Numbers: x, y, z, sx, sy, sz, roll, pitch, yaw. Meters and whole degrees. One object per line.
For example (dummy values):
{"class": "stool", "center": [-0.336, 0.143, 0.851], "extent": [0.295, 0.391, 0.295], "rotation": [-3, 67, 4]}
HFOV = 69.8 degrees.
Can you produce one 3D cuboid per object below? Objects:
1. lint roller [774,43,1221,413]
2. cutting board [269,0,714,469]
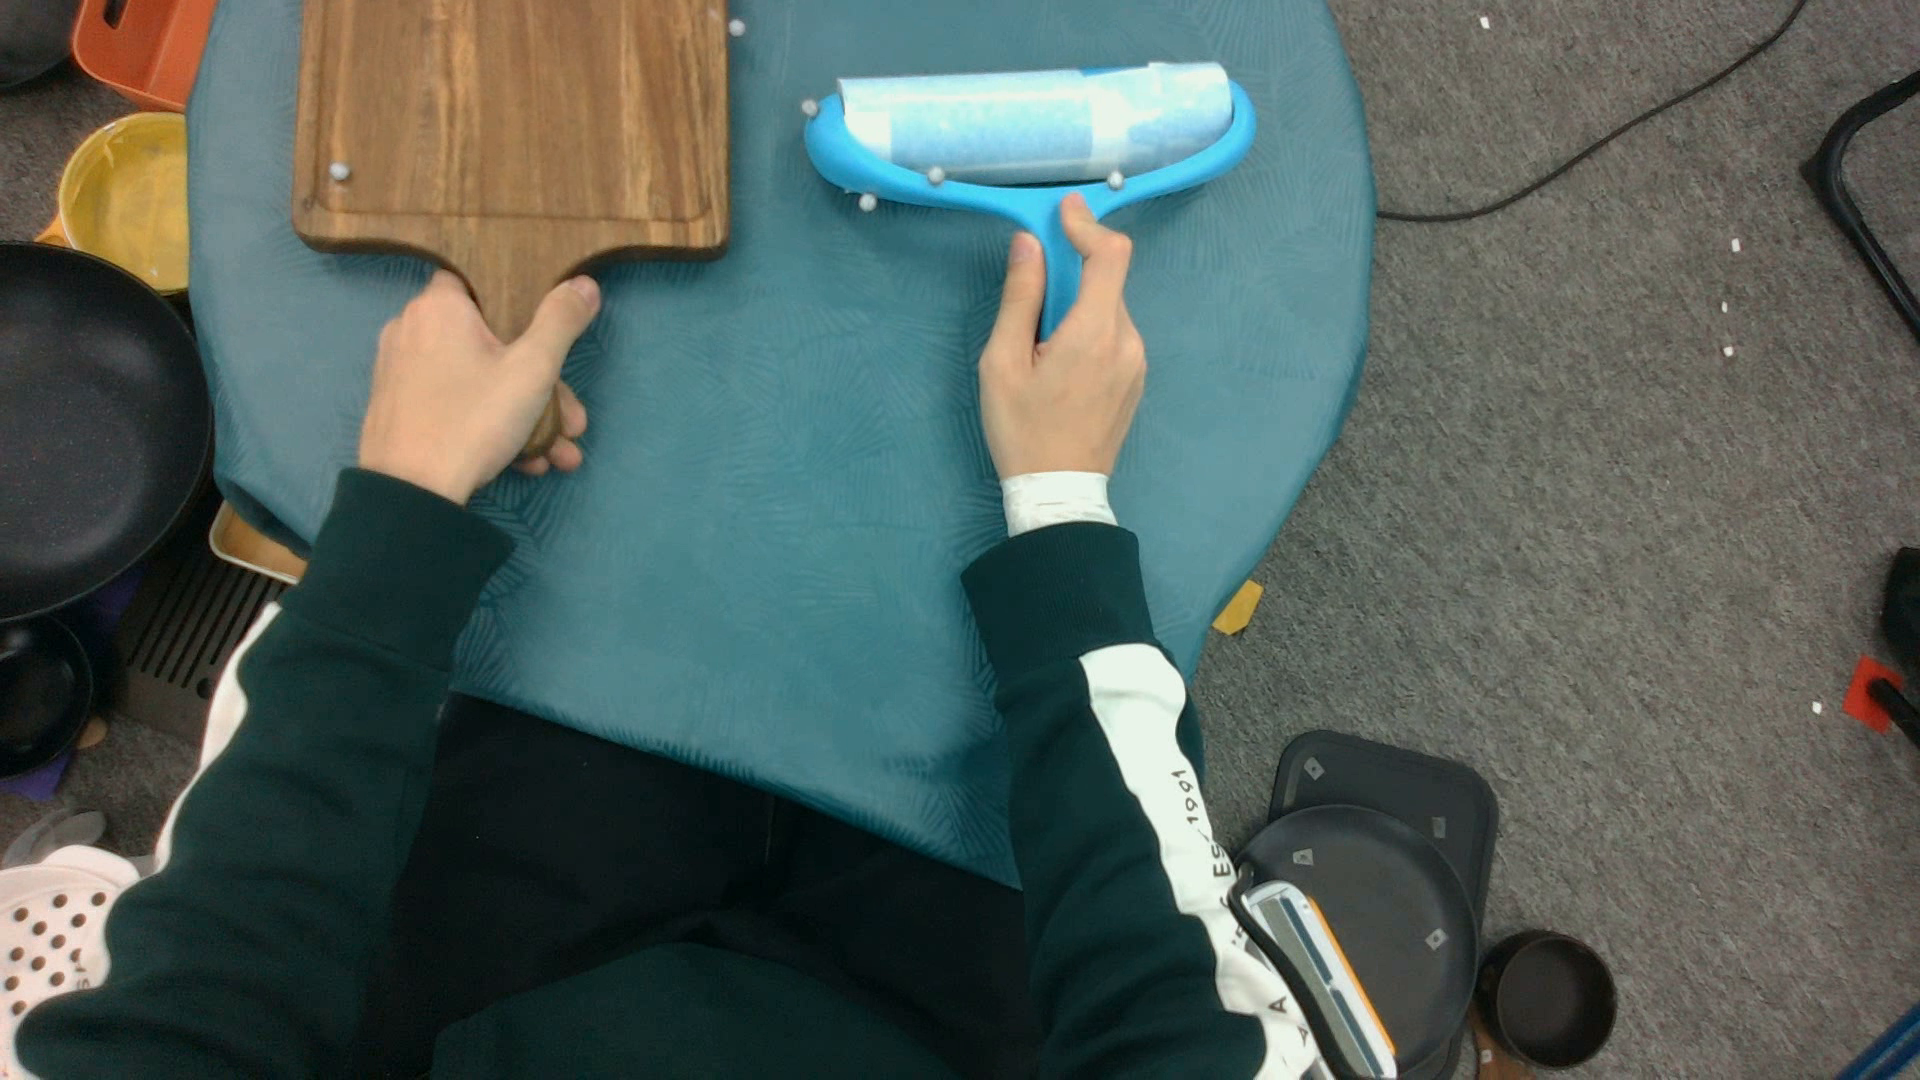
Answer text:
{"class": "lint roller", "center": [0.033, -0.158, 0.687], "extent": [0.229, 0.068, 0.180], "rotation": [-10, 82, -12]}
{"class": "cutting board", "center": [-0.224, -0.206, 0.660], "extent": [0.201, 0.023, 0.352], "rotation": [-4, 79, -9]}
